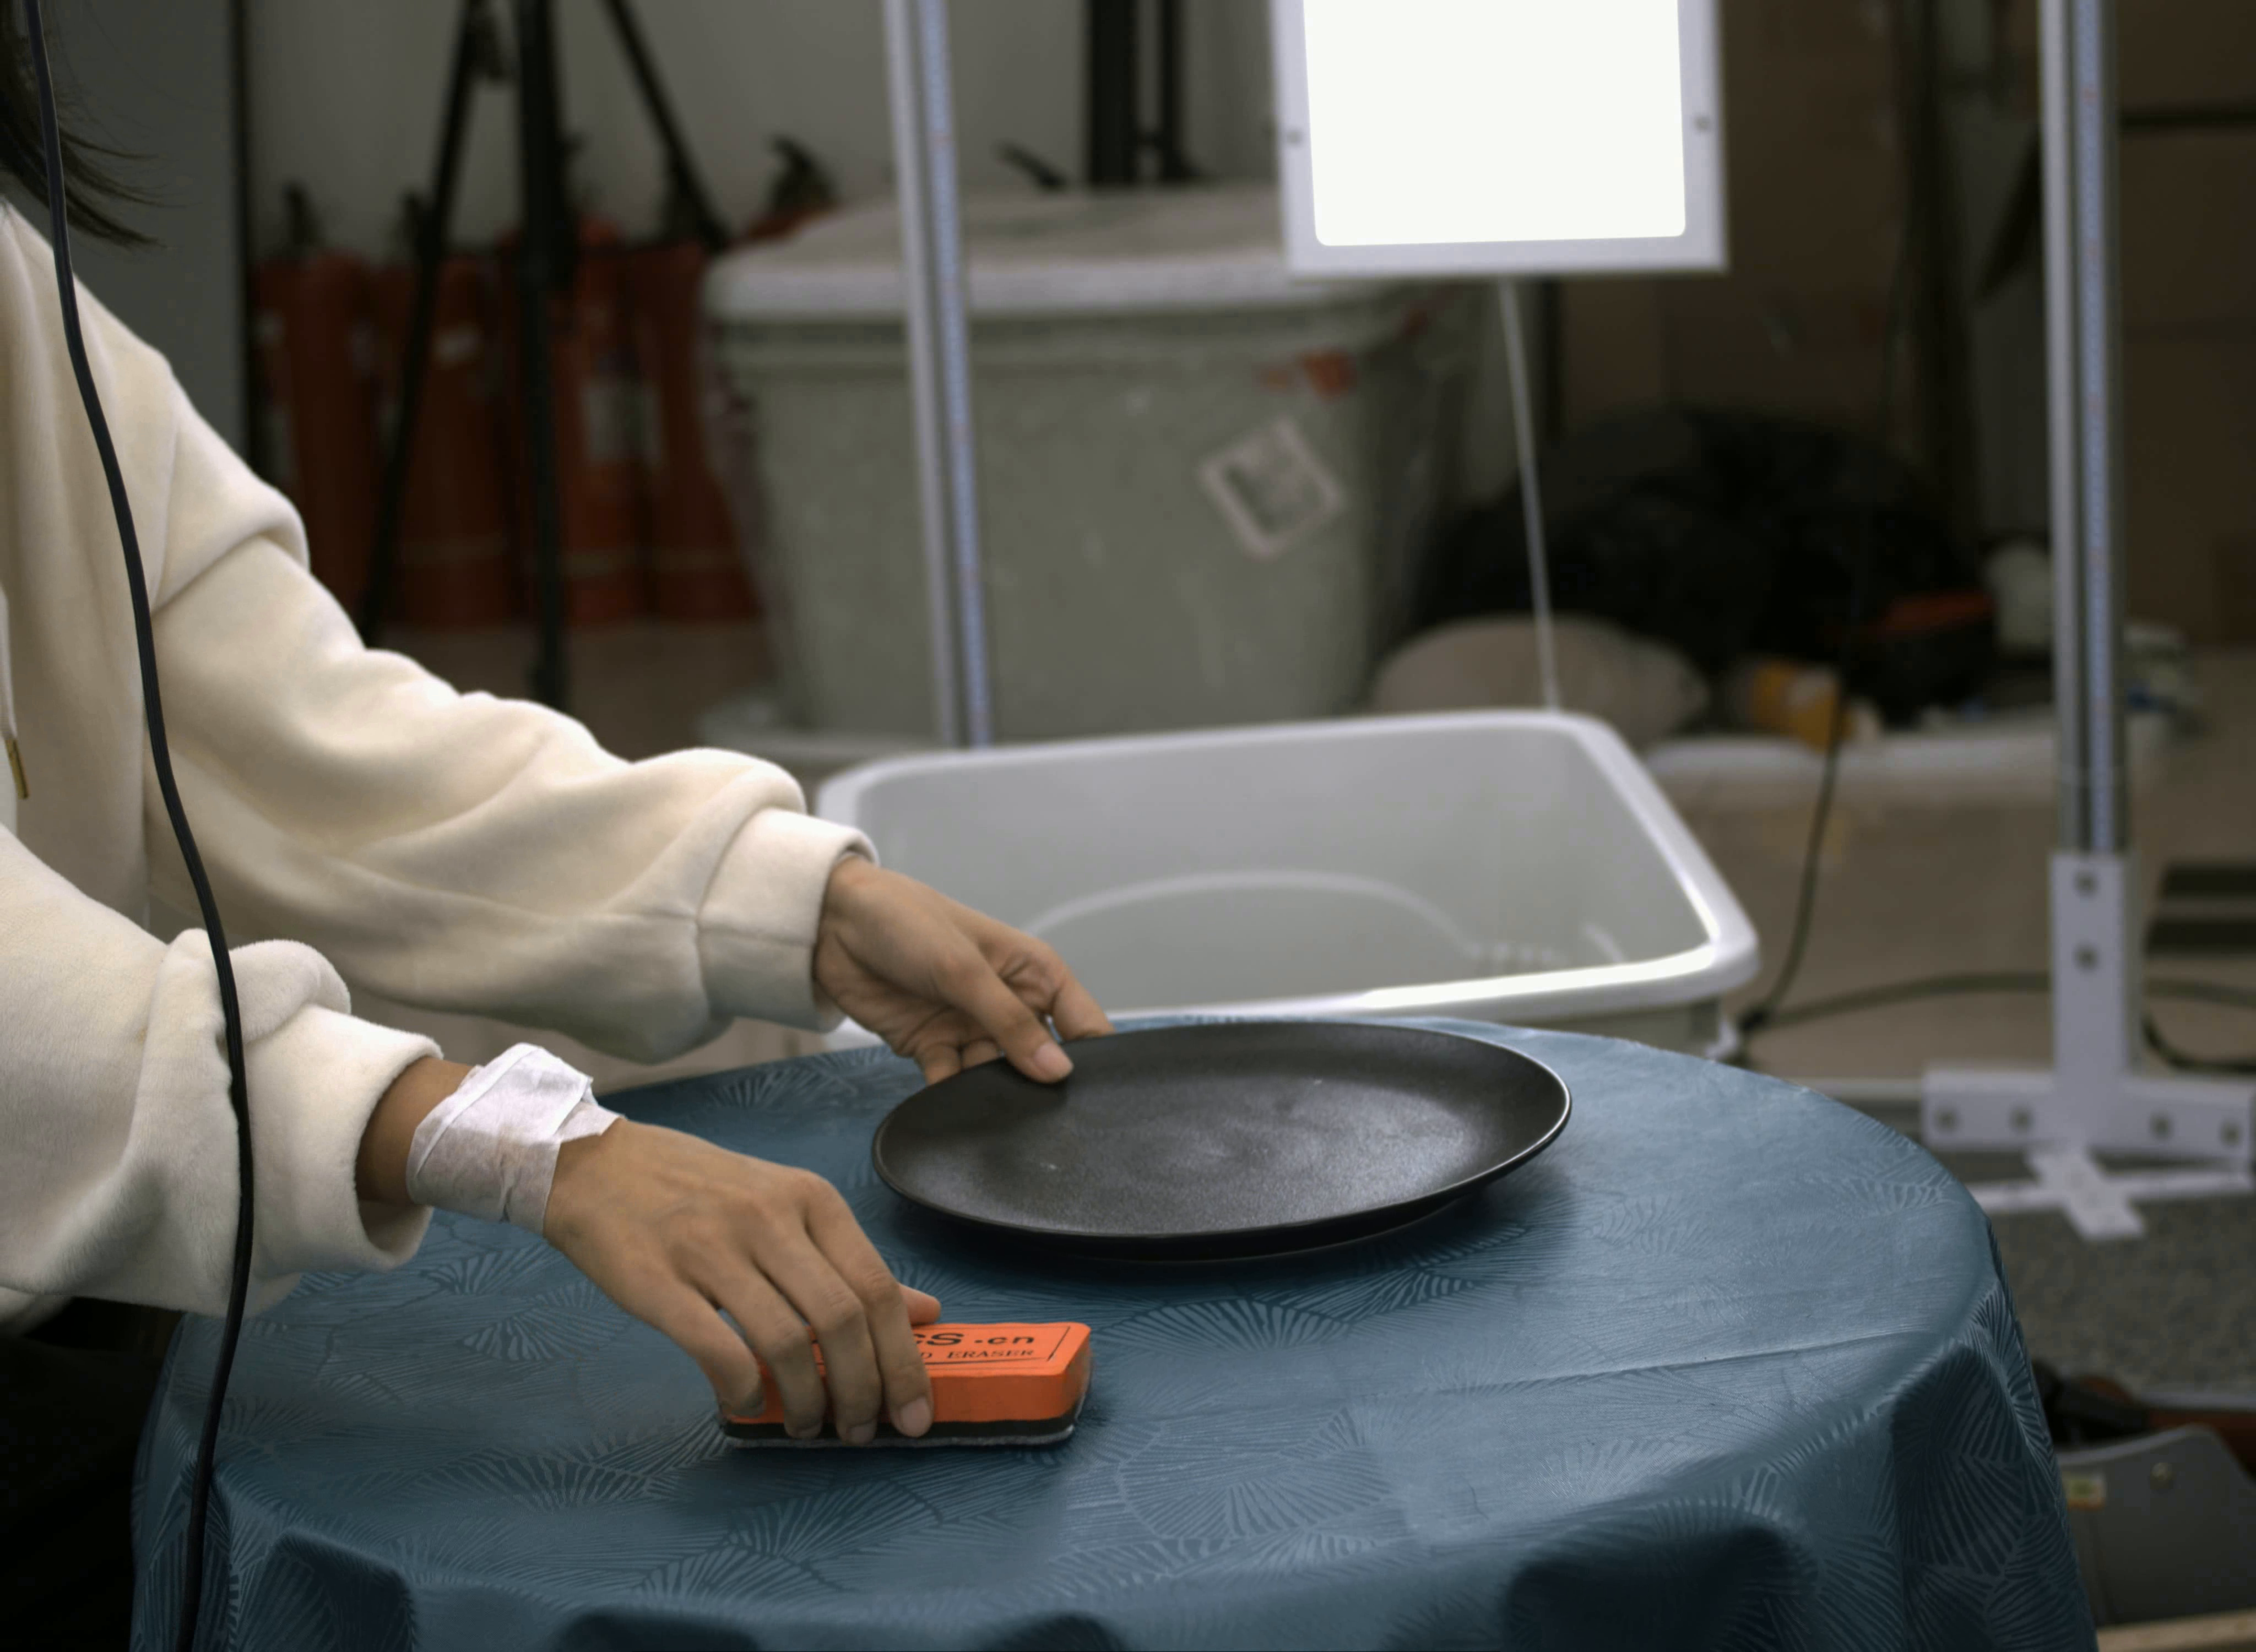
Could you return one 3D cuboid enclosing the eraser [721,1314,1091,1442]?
[{"bbox_3d":[-0.067,0.168,1.687,0.109,0.023,0.058,1,12,13],"label":"eraser"}]

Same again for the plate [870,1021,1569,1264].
[{"bbox_3d":[0.033,0.111,1.900,0.244,0.023,0.244,-5,14,0],"label":"plate"}]
